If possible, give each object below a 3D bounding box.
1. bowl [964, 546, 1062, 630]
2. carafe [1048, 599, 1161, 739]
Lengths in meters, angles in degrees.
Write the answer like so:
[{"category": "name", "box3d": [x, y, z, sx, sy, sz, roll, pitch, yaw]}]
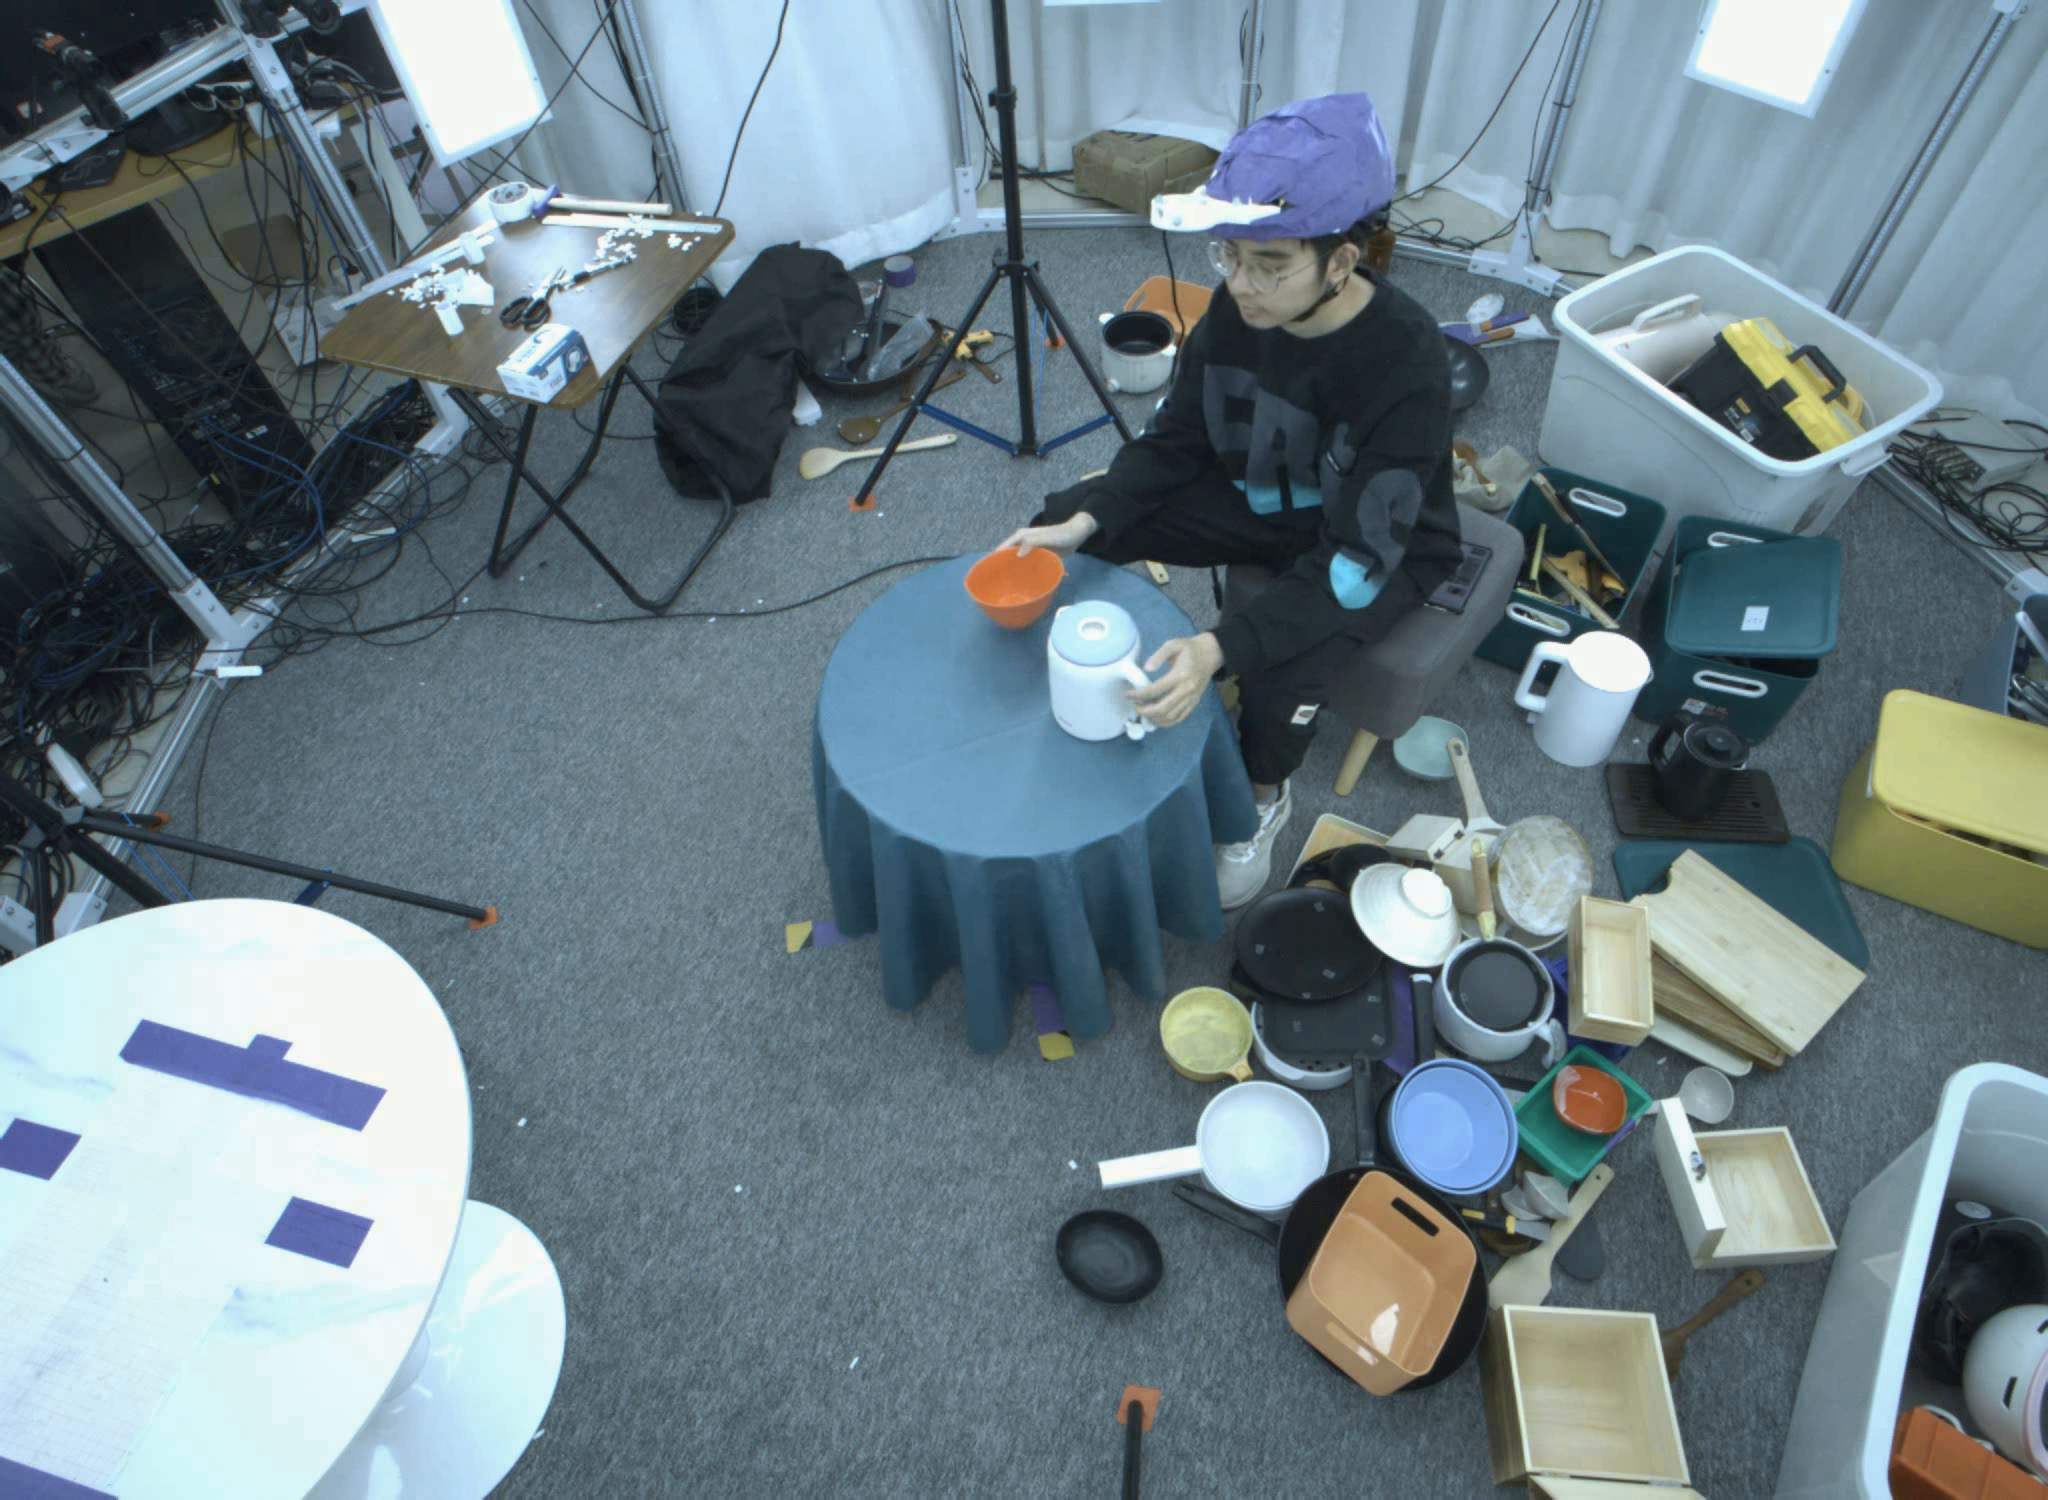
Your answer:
[{"category": "bowl", "box3d": [-0.013, -0.233, 1.854, 0.148, 0.106, 0.146, -2, 55, 4]}, {"category": "carafe", "box3d": [0.118, -0.101, 1.745, 0.188, 0.184, 0.133, 39, 66, 24]}]
